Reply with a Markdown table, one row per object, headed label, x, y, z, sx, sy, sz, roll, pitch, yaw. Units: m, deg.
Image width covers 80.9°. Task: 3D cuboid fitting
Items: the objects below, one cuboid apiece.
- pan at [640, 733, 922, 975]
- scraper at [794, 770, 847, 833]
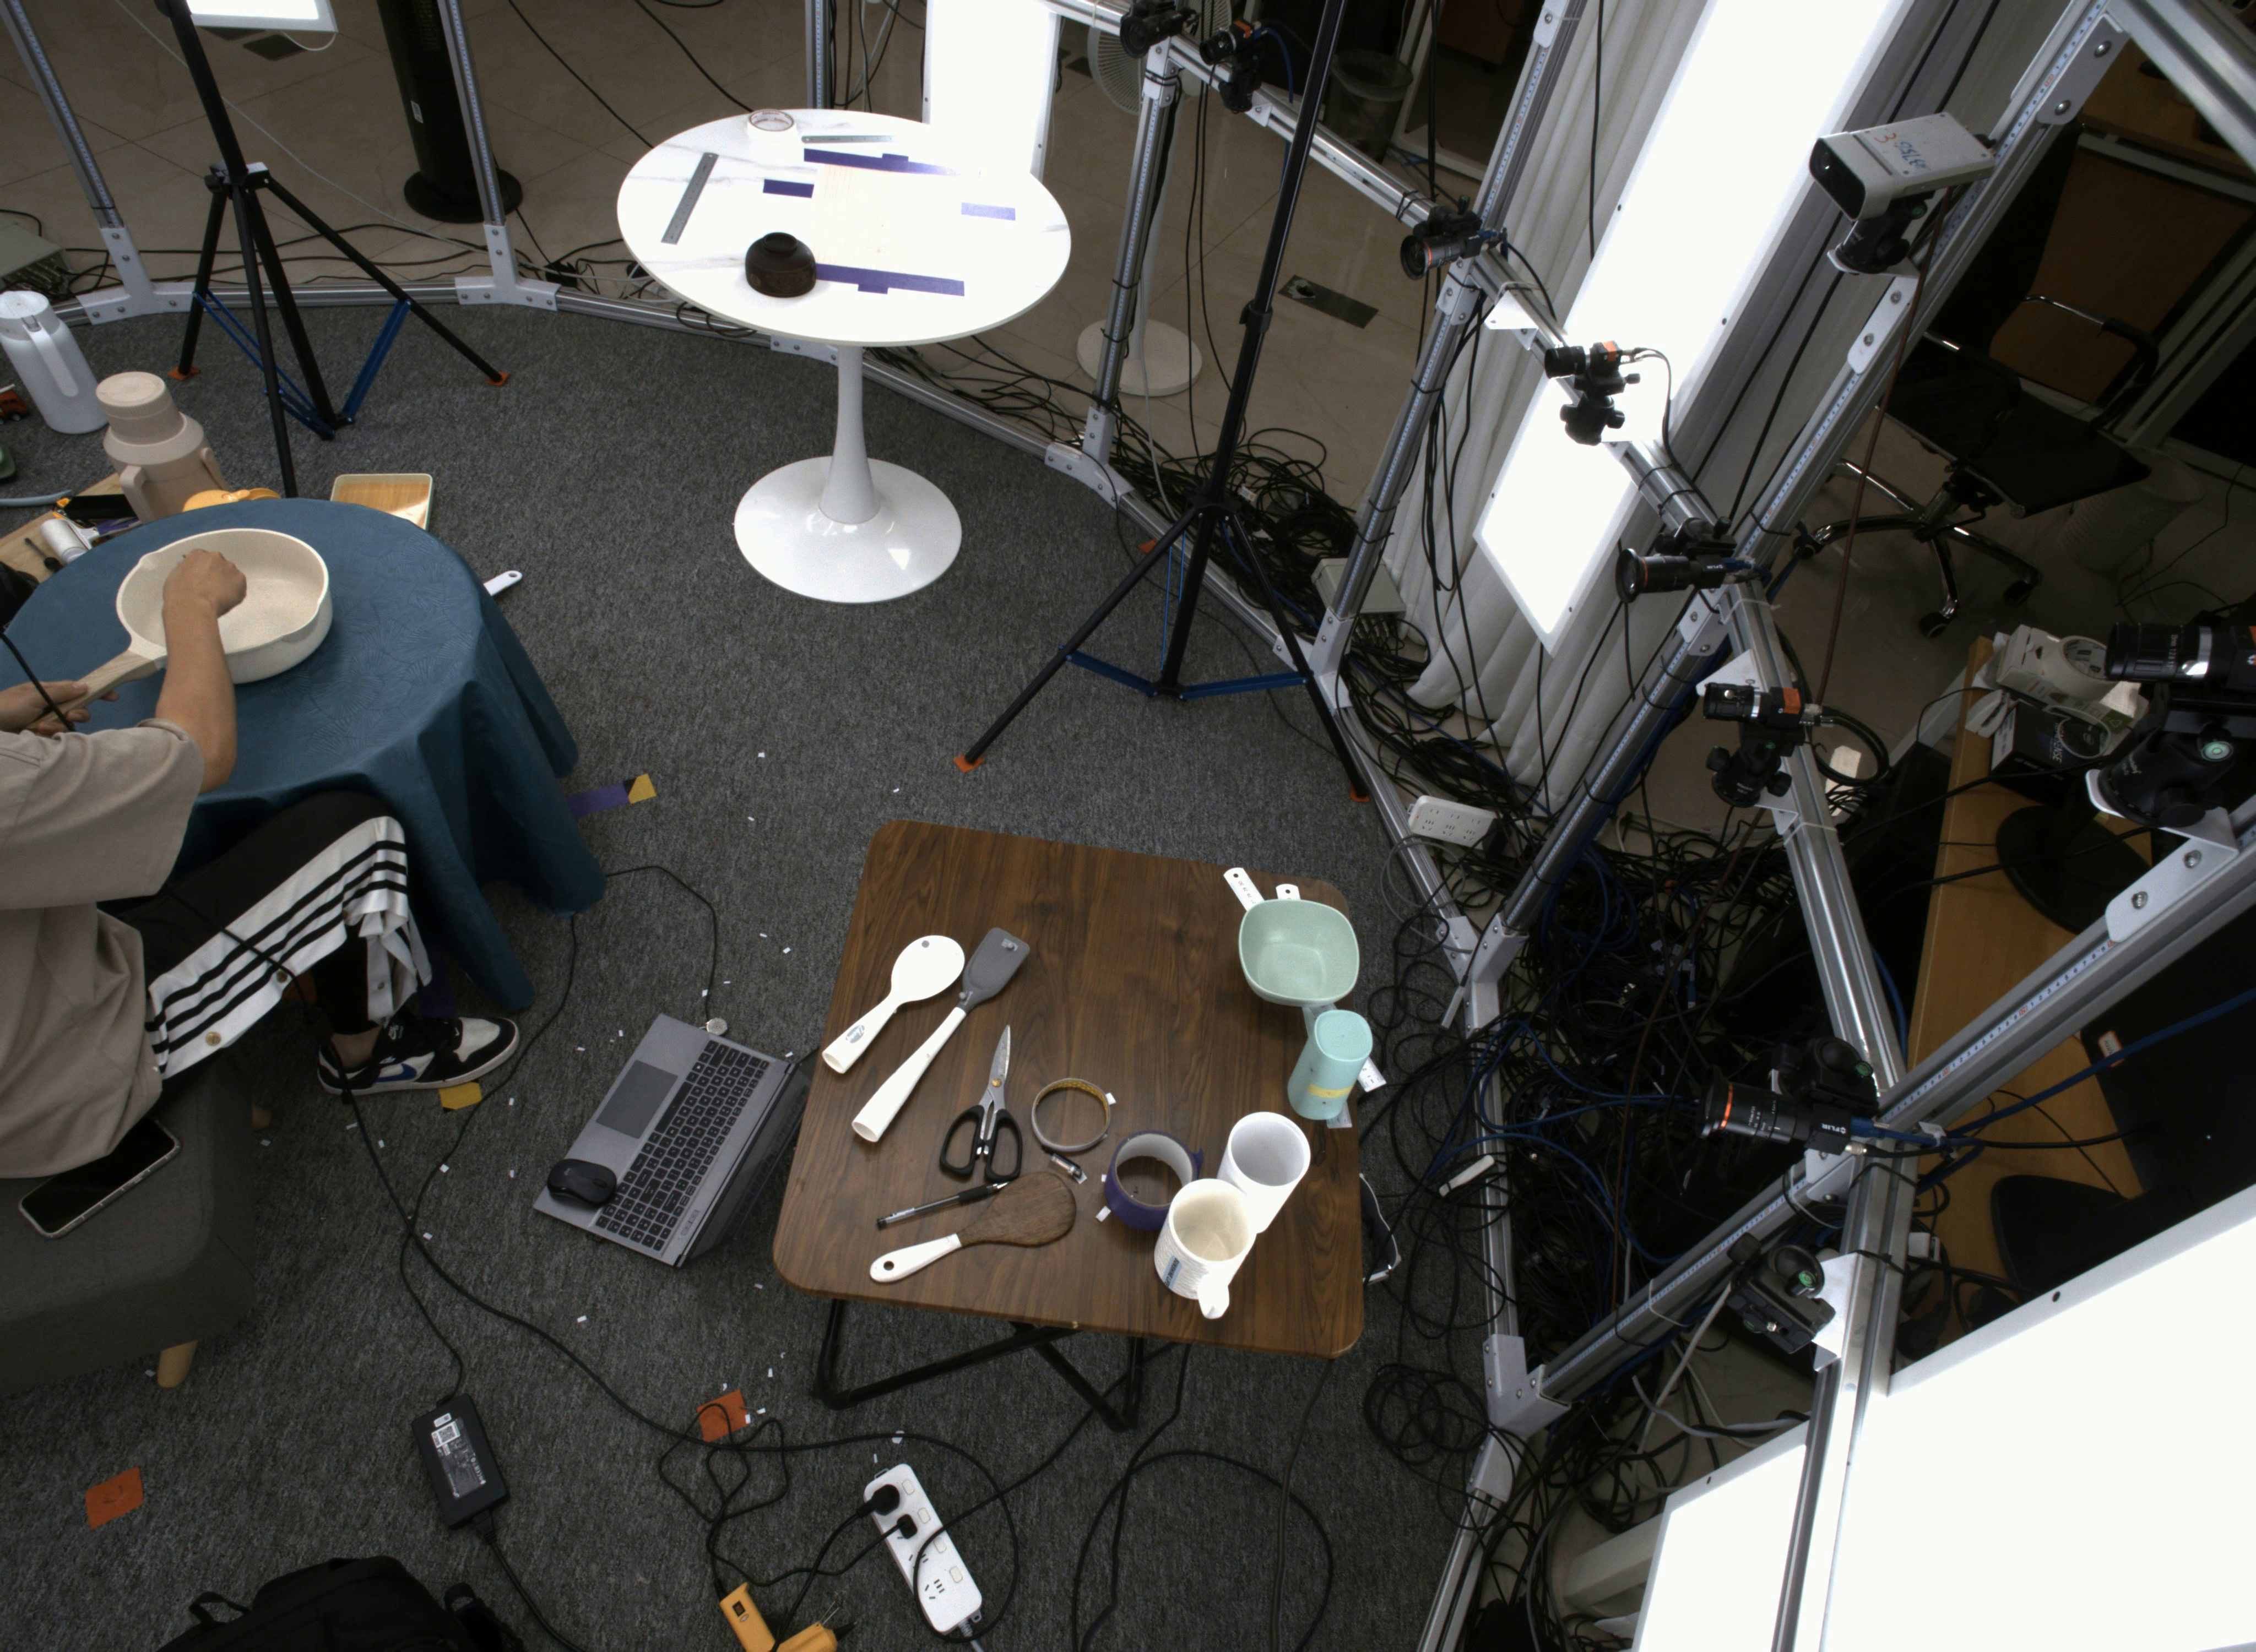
| label | x | y | z | sx | sy | sz | roll | pitch | yaw |
| --- | --- | --- | --- | --- | --- | --- | --- | --- | --- |
| pan | -0.445 | 0.053 | 1.630 | 0.259 | 0.104 | 0.434 | 35 | 54 | 10 |
| scraper | -0.372 | -0.032 | 1.575 | 0.039 | 0.015 | 0.165 | 5 | 23 | -28 |
